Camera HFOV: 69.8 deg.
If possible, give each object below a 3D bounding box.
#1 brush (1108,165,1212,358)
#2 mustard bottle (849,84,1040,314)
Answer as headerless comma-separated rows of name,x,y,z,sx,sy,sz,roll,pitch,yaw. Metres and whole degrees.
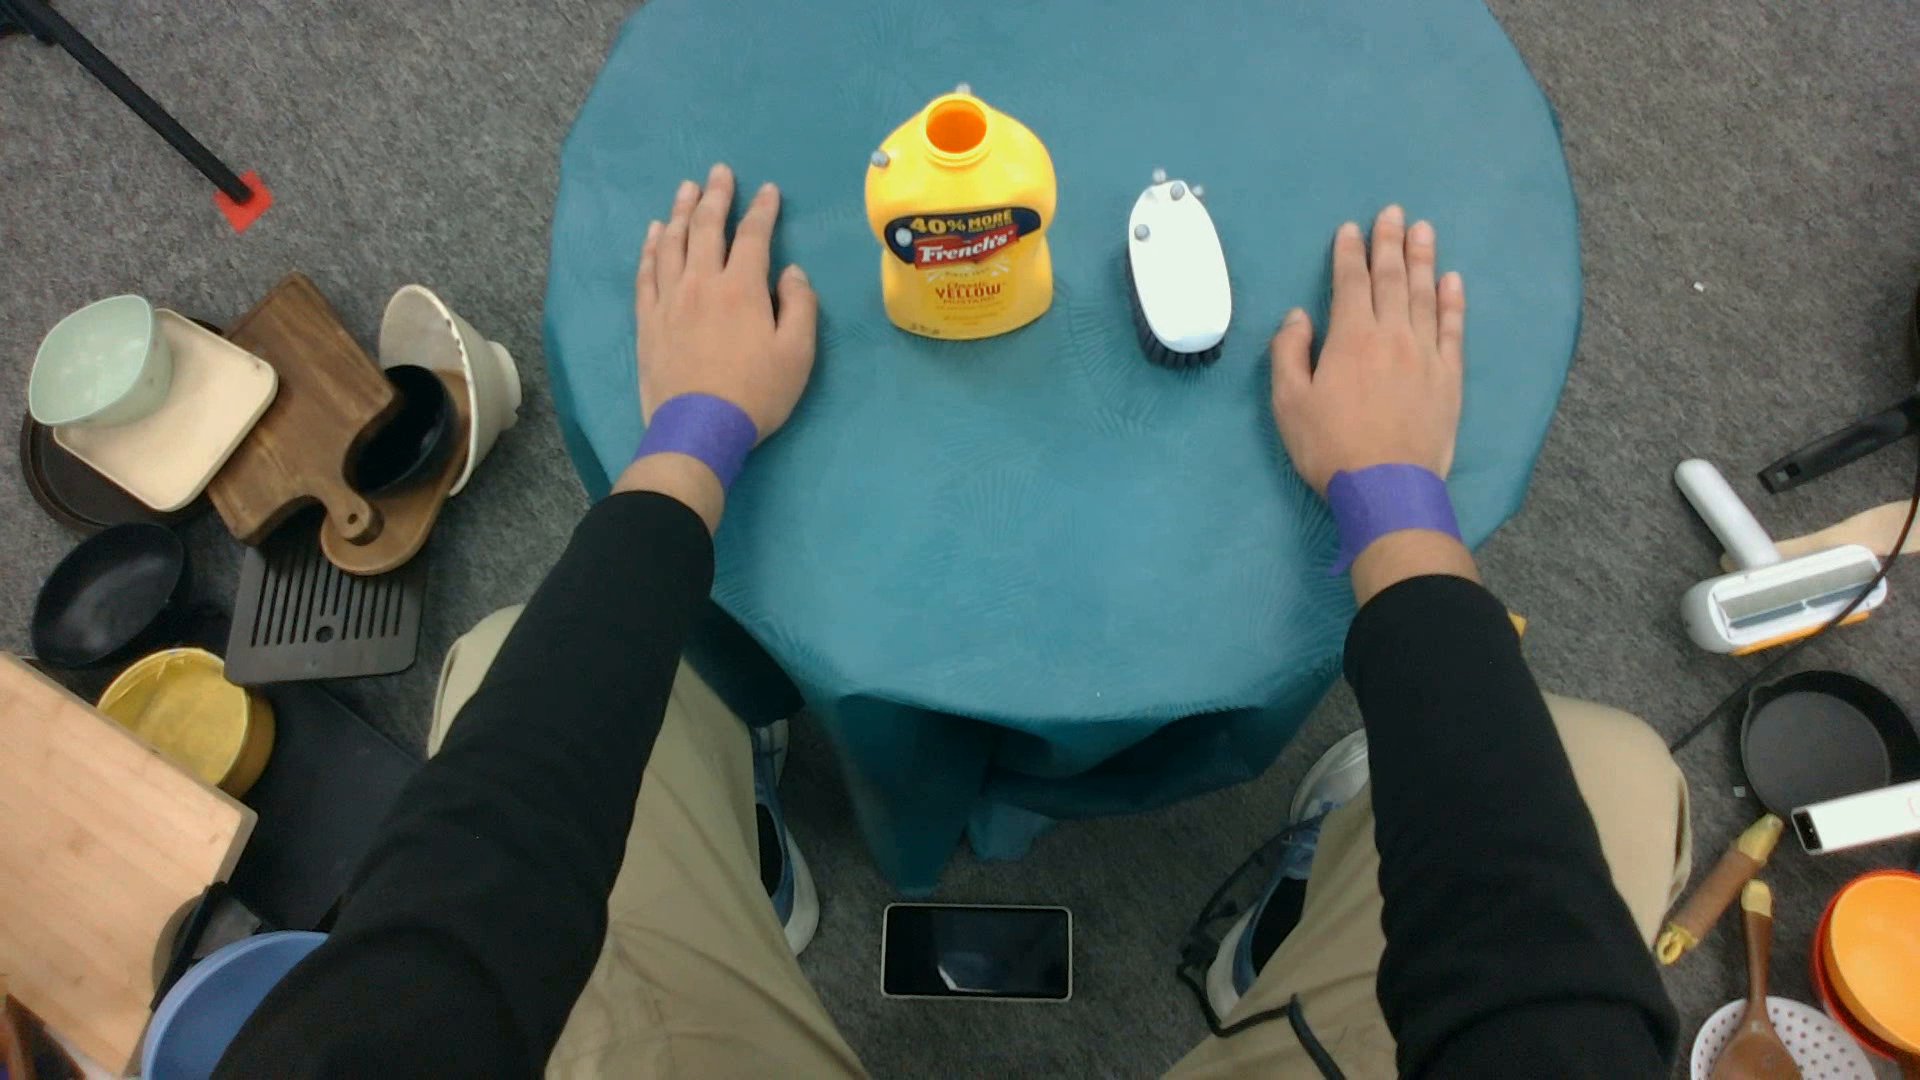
brush,0.111,-0.159,0.756,0.050,0.072,0.099,-9,71,0
mustard bottle,-0.006,-0.176,0.716,0.098,0.171,0.059,-10,78,-2
